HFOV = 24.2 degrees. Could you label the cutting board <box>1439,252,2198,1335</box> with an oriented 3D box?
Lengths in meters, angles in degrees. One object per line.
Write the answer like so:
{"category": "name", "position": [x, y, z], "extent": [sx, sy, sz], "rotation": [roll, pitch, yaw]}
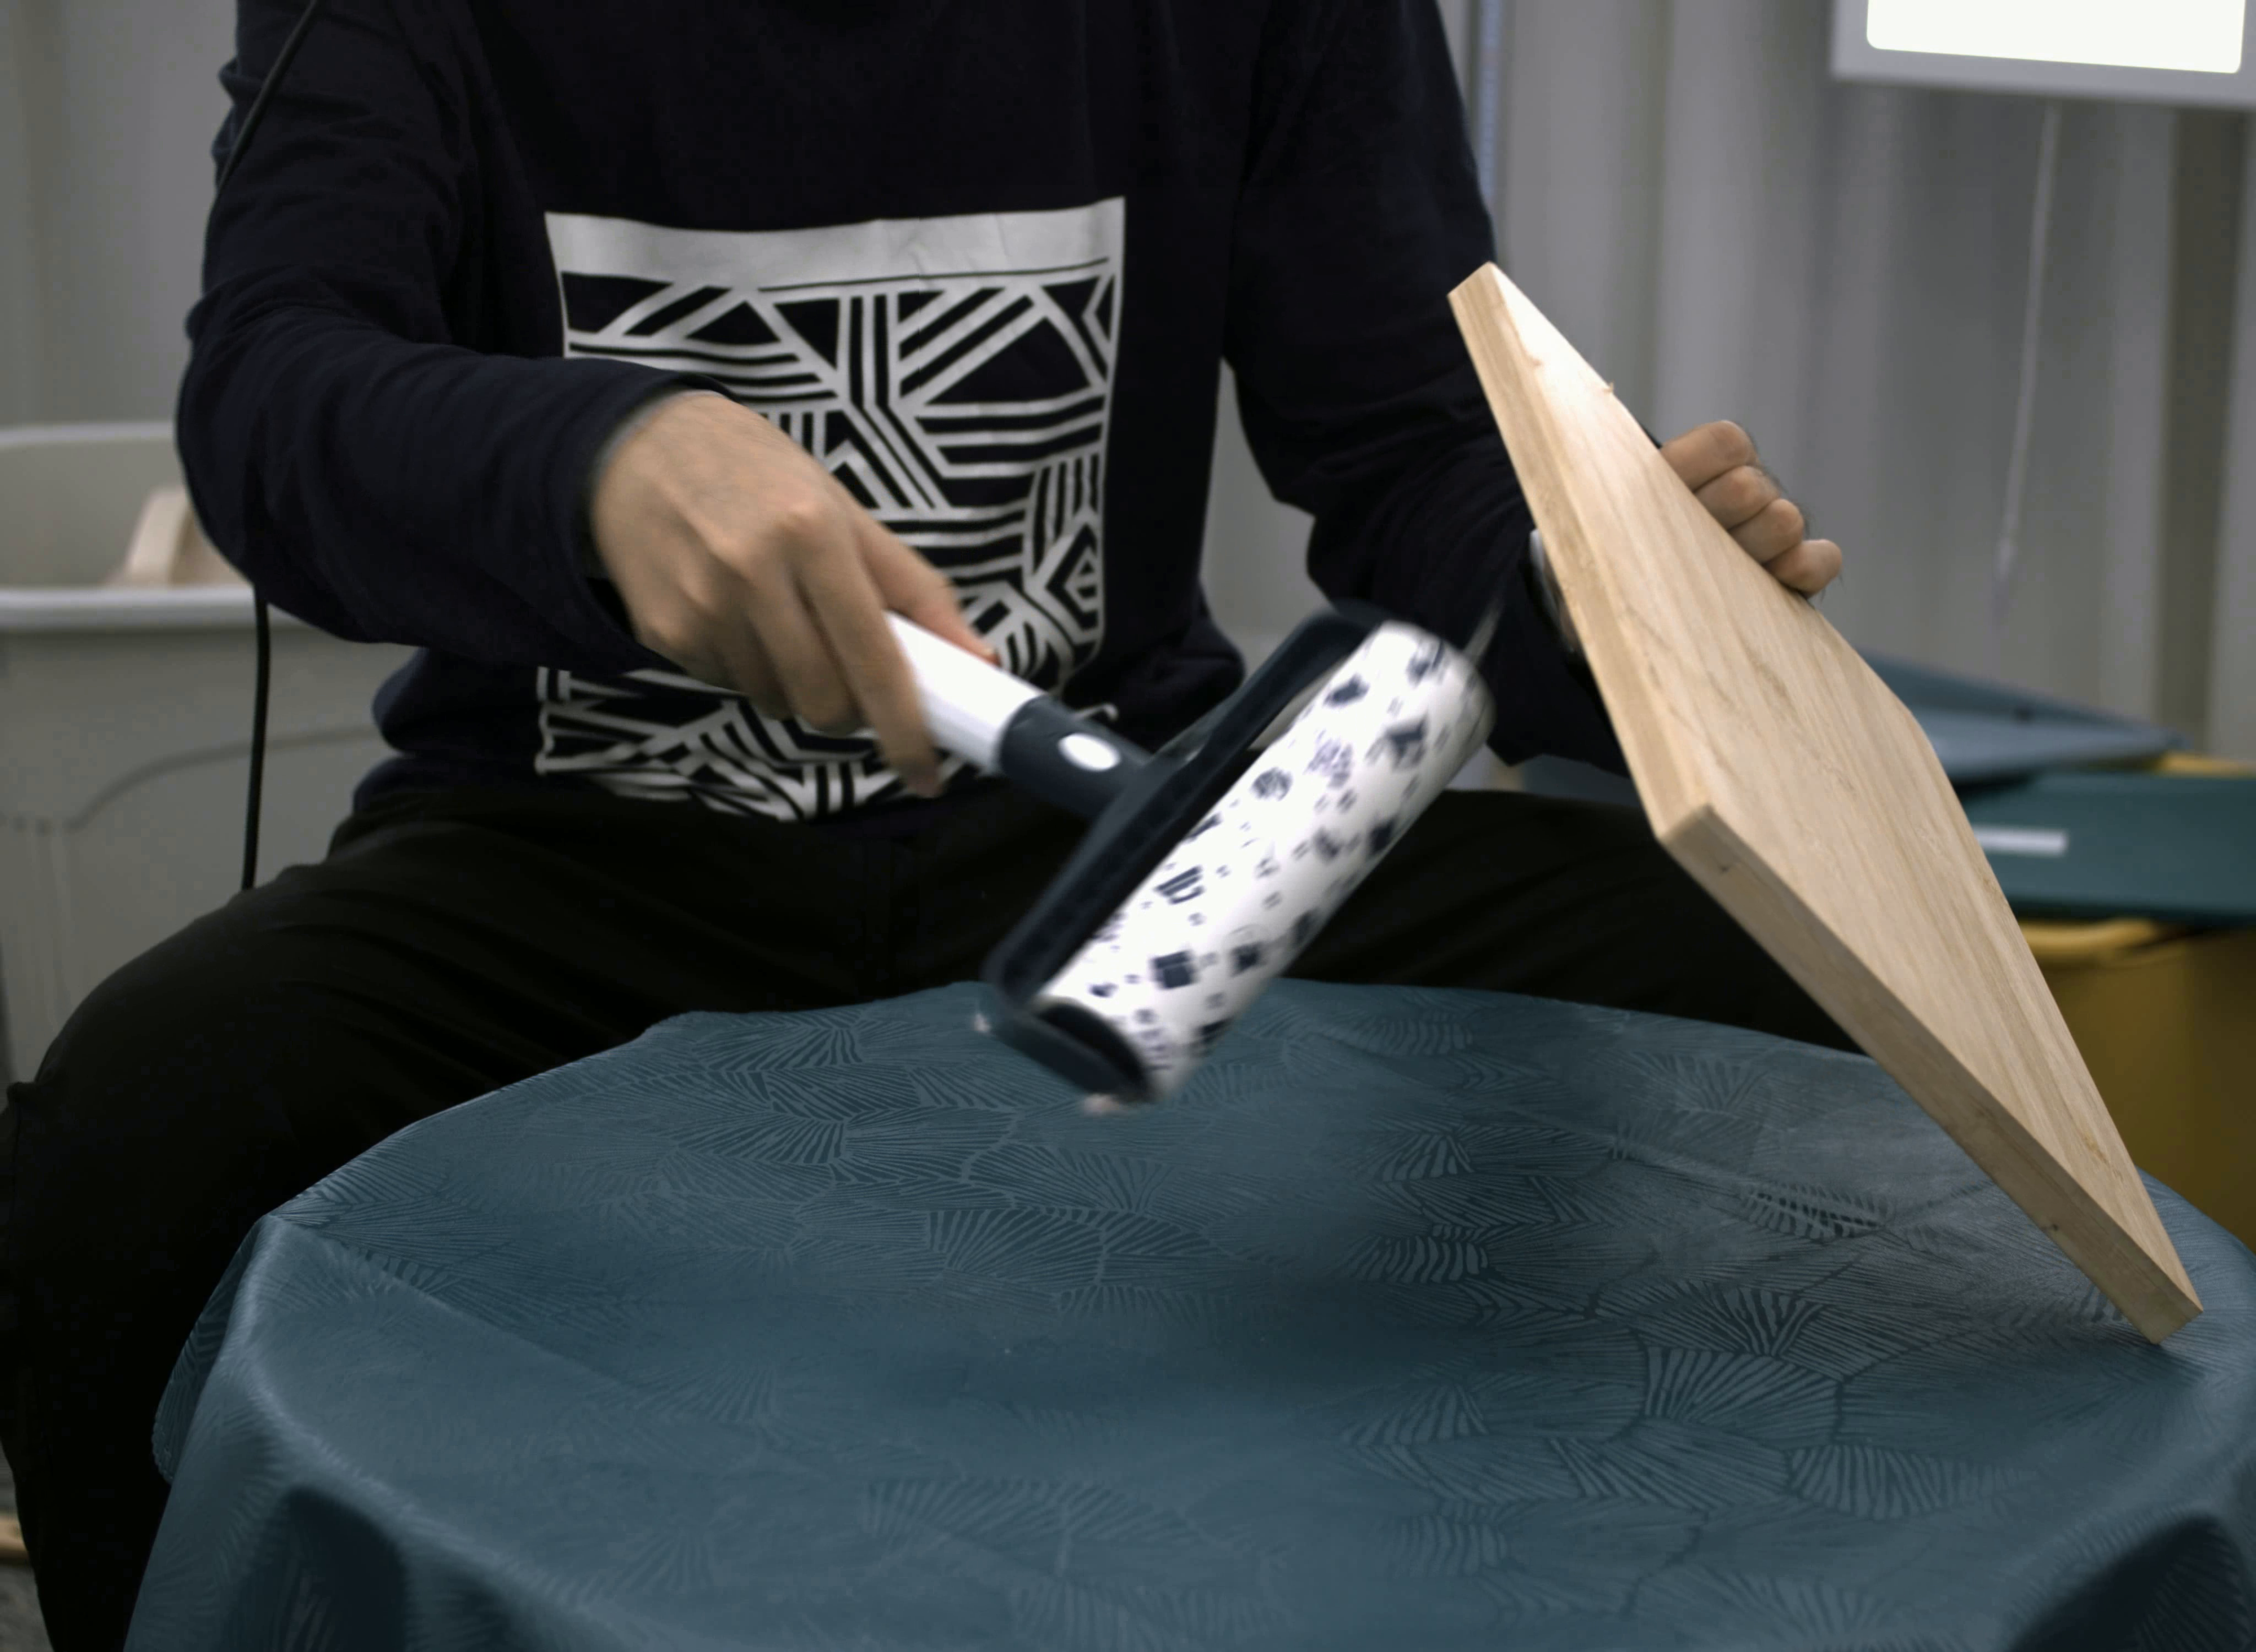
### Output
{"category": "cutting board", "position": [0.201, -0.019, 1.592], "extent": [0.023, 0.253, 0.345], "rotation": [-38, 30, 15]}

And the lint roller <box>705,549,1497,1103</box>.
{"category": "lint roller", "position": [-0.034, -0.033, 1.561], "extent": [0.244, 0.051, 0.176], "rotation": [26, 68, 28]}
